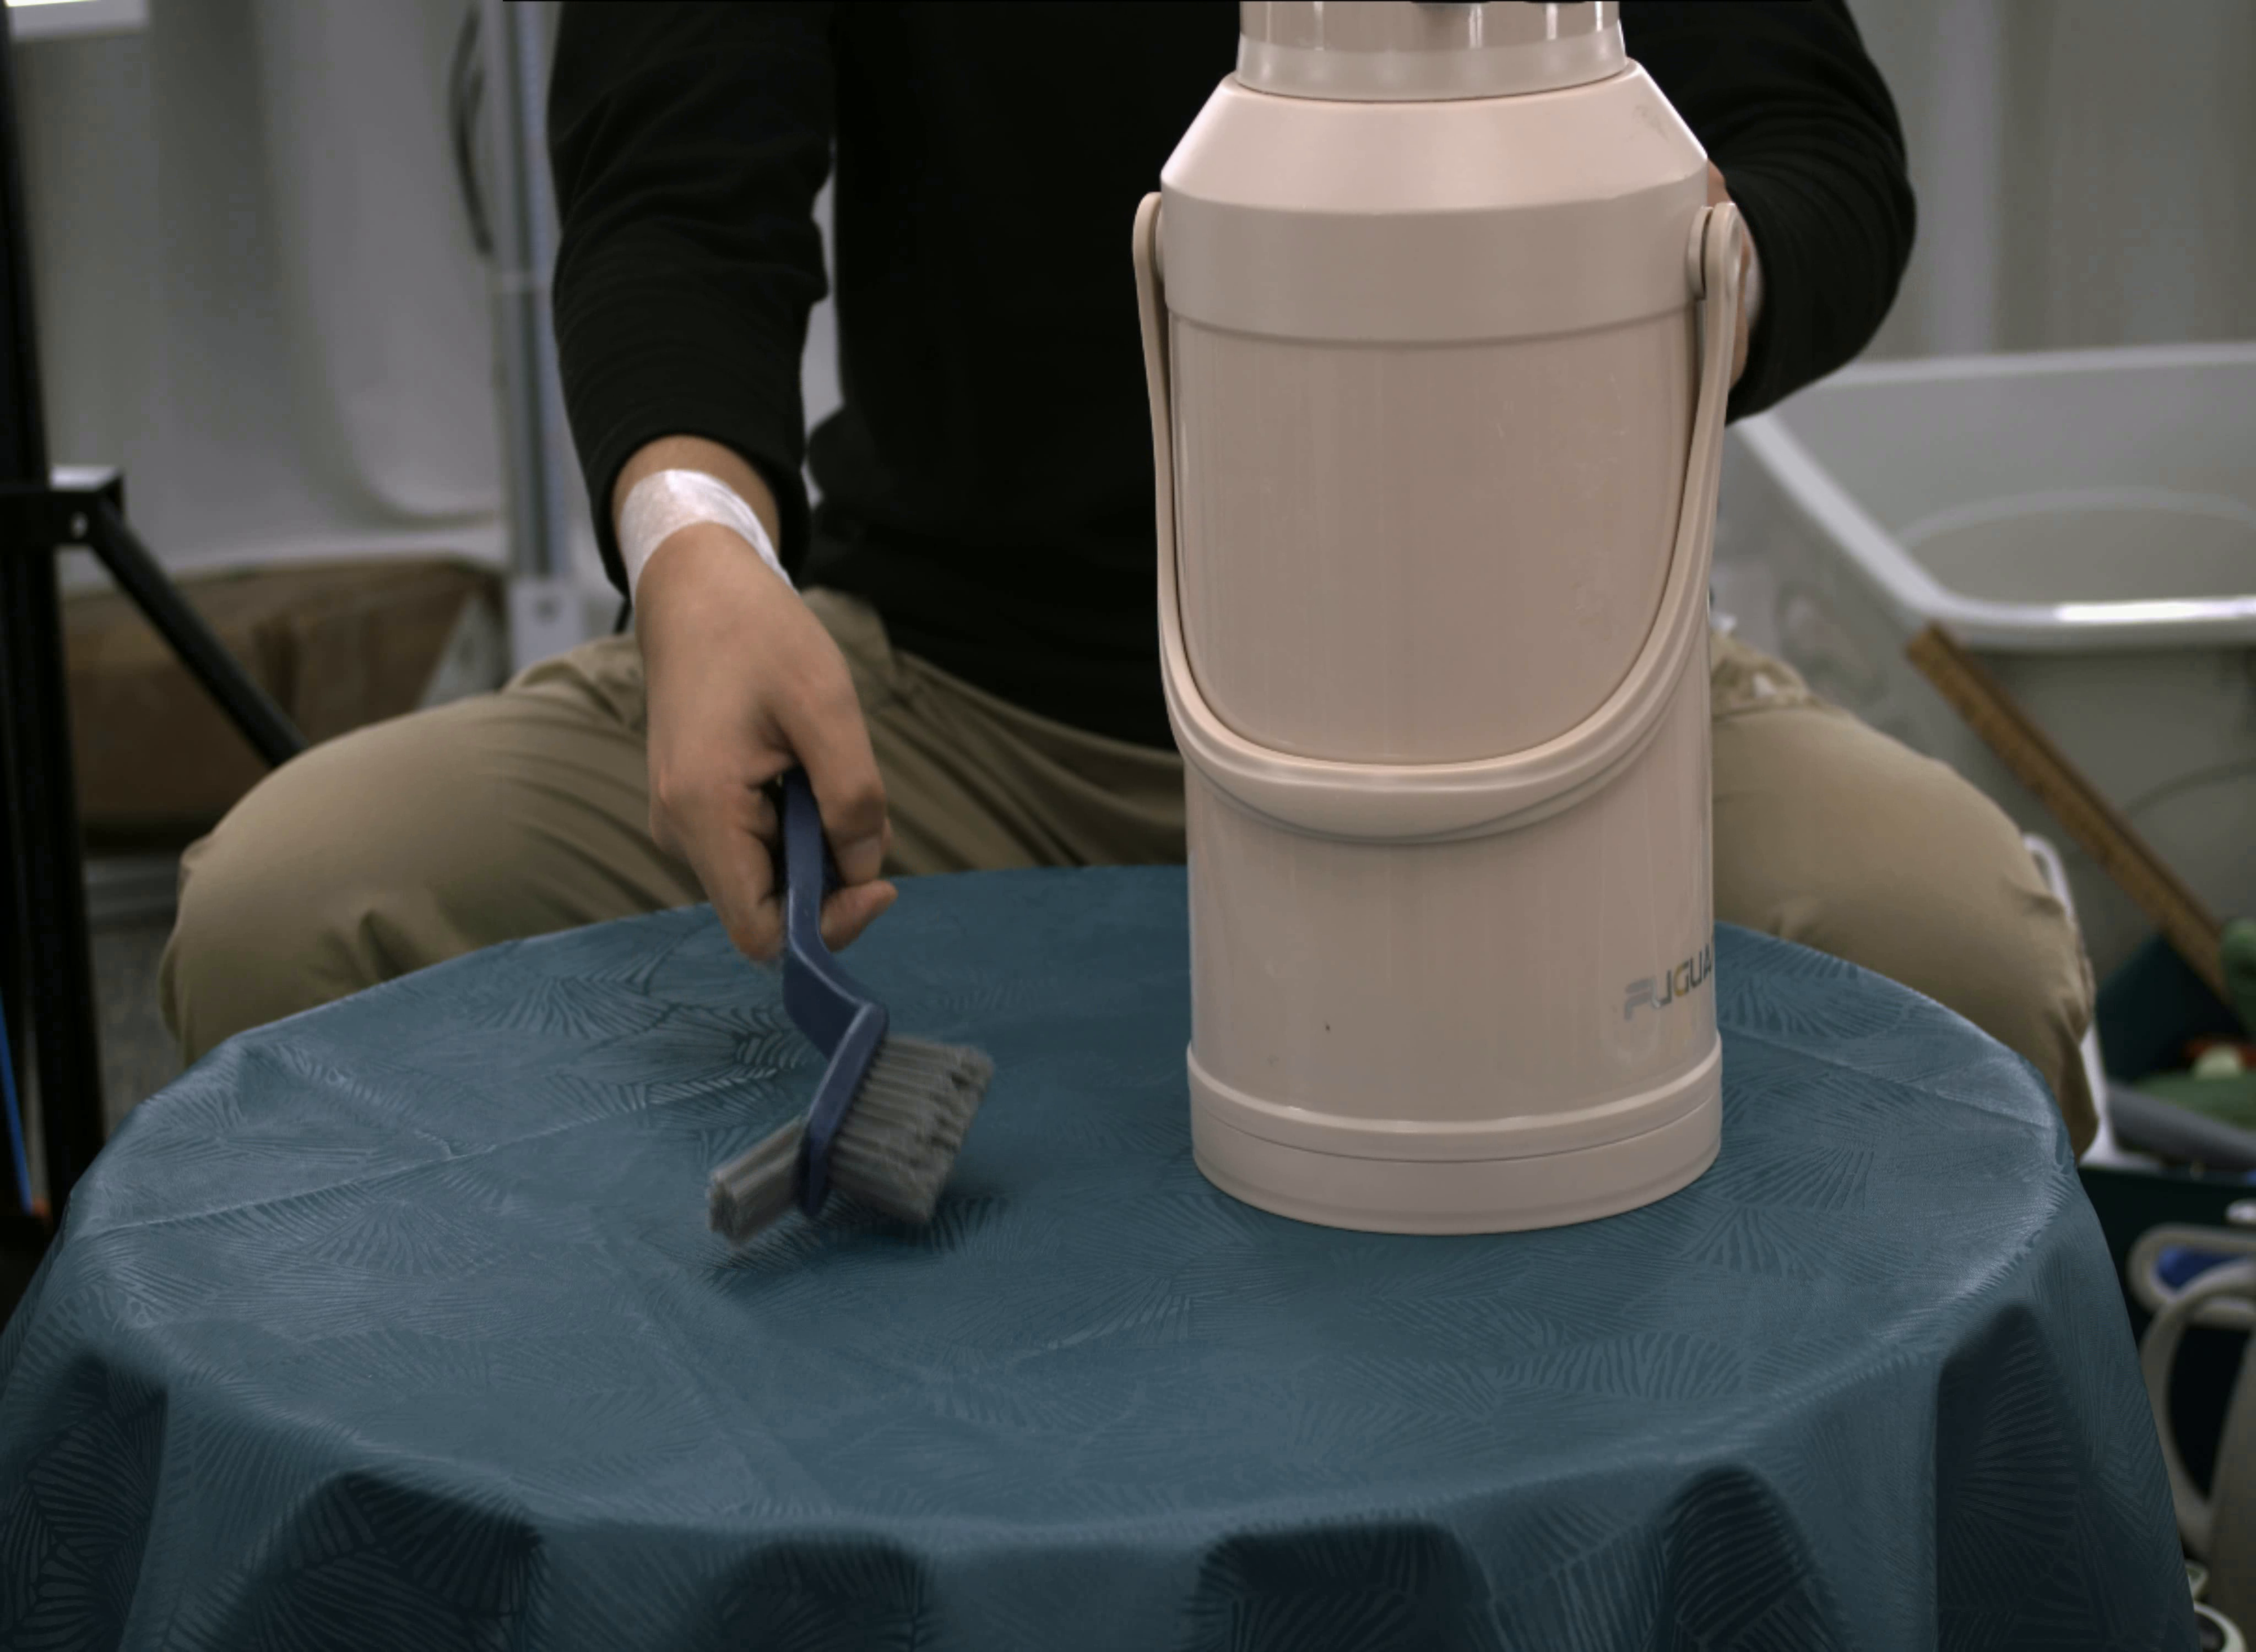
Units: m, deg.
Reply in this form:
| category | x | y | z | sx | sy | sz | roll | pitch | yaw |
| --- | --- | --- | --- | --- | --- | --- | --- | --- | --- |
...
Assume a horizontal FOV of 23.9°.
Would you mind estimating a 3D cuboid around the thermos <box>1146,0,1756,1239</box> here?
| category | x | y | z | sx | sy | sz | roll | pitch | yaw |
| --- | --- | --- | --- | --- | --- | --- | --- | --- | --- |
| thermos | 0.100 | -0.099 | 1.544 | 0.177 | 0.406 | 0.205 | 2 | 16 | 19 |

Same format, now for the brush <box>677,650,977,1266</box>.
| category | x | y | z | sx | sy | sz | roll | pitch | yaw |
| --- | --- | --- | --- | --- | --- | --- | --- | --- | --- |
| brush | -0.104 | 0.035 | 1.626 | 0.094 | 0.033 | 0.277 | -3 | 35 | -11 |
